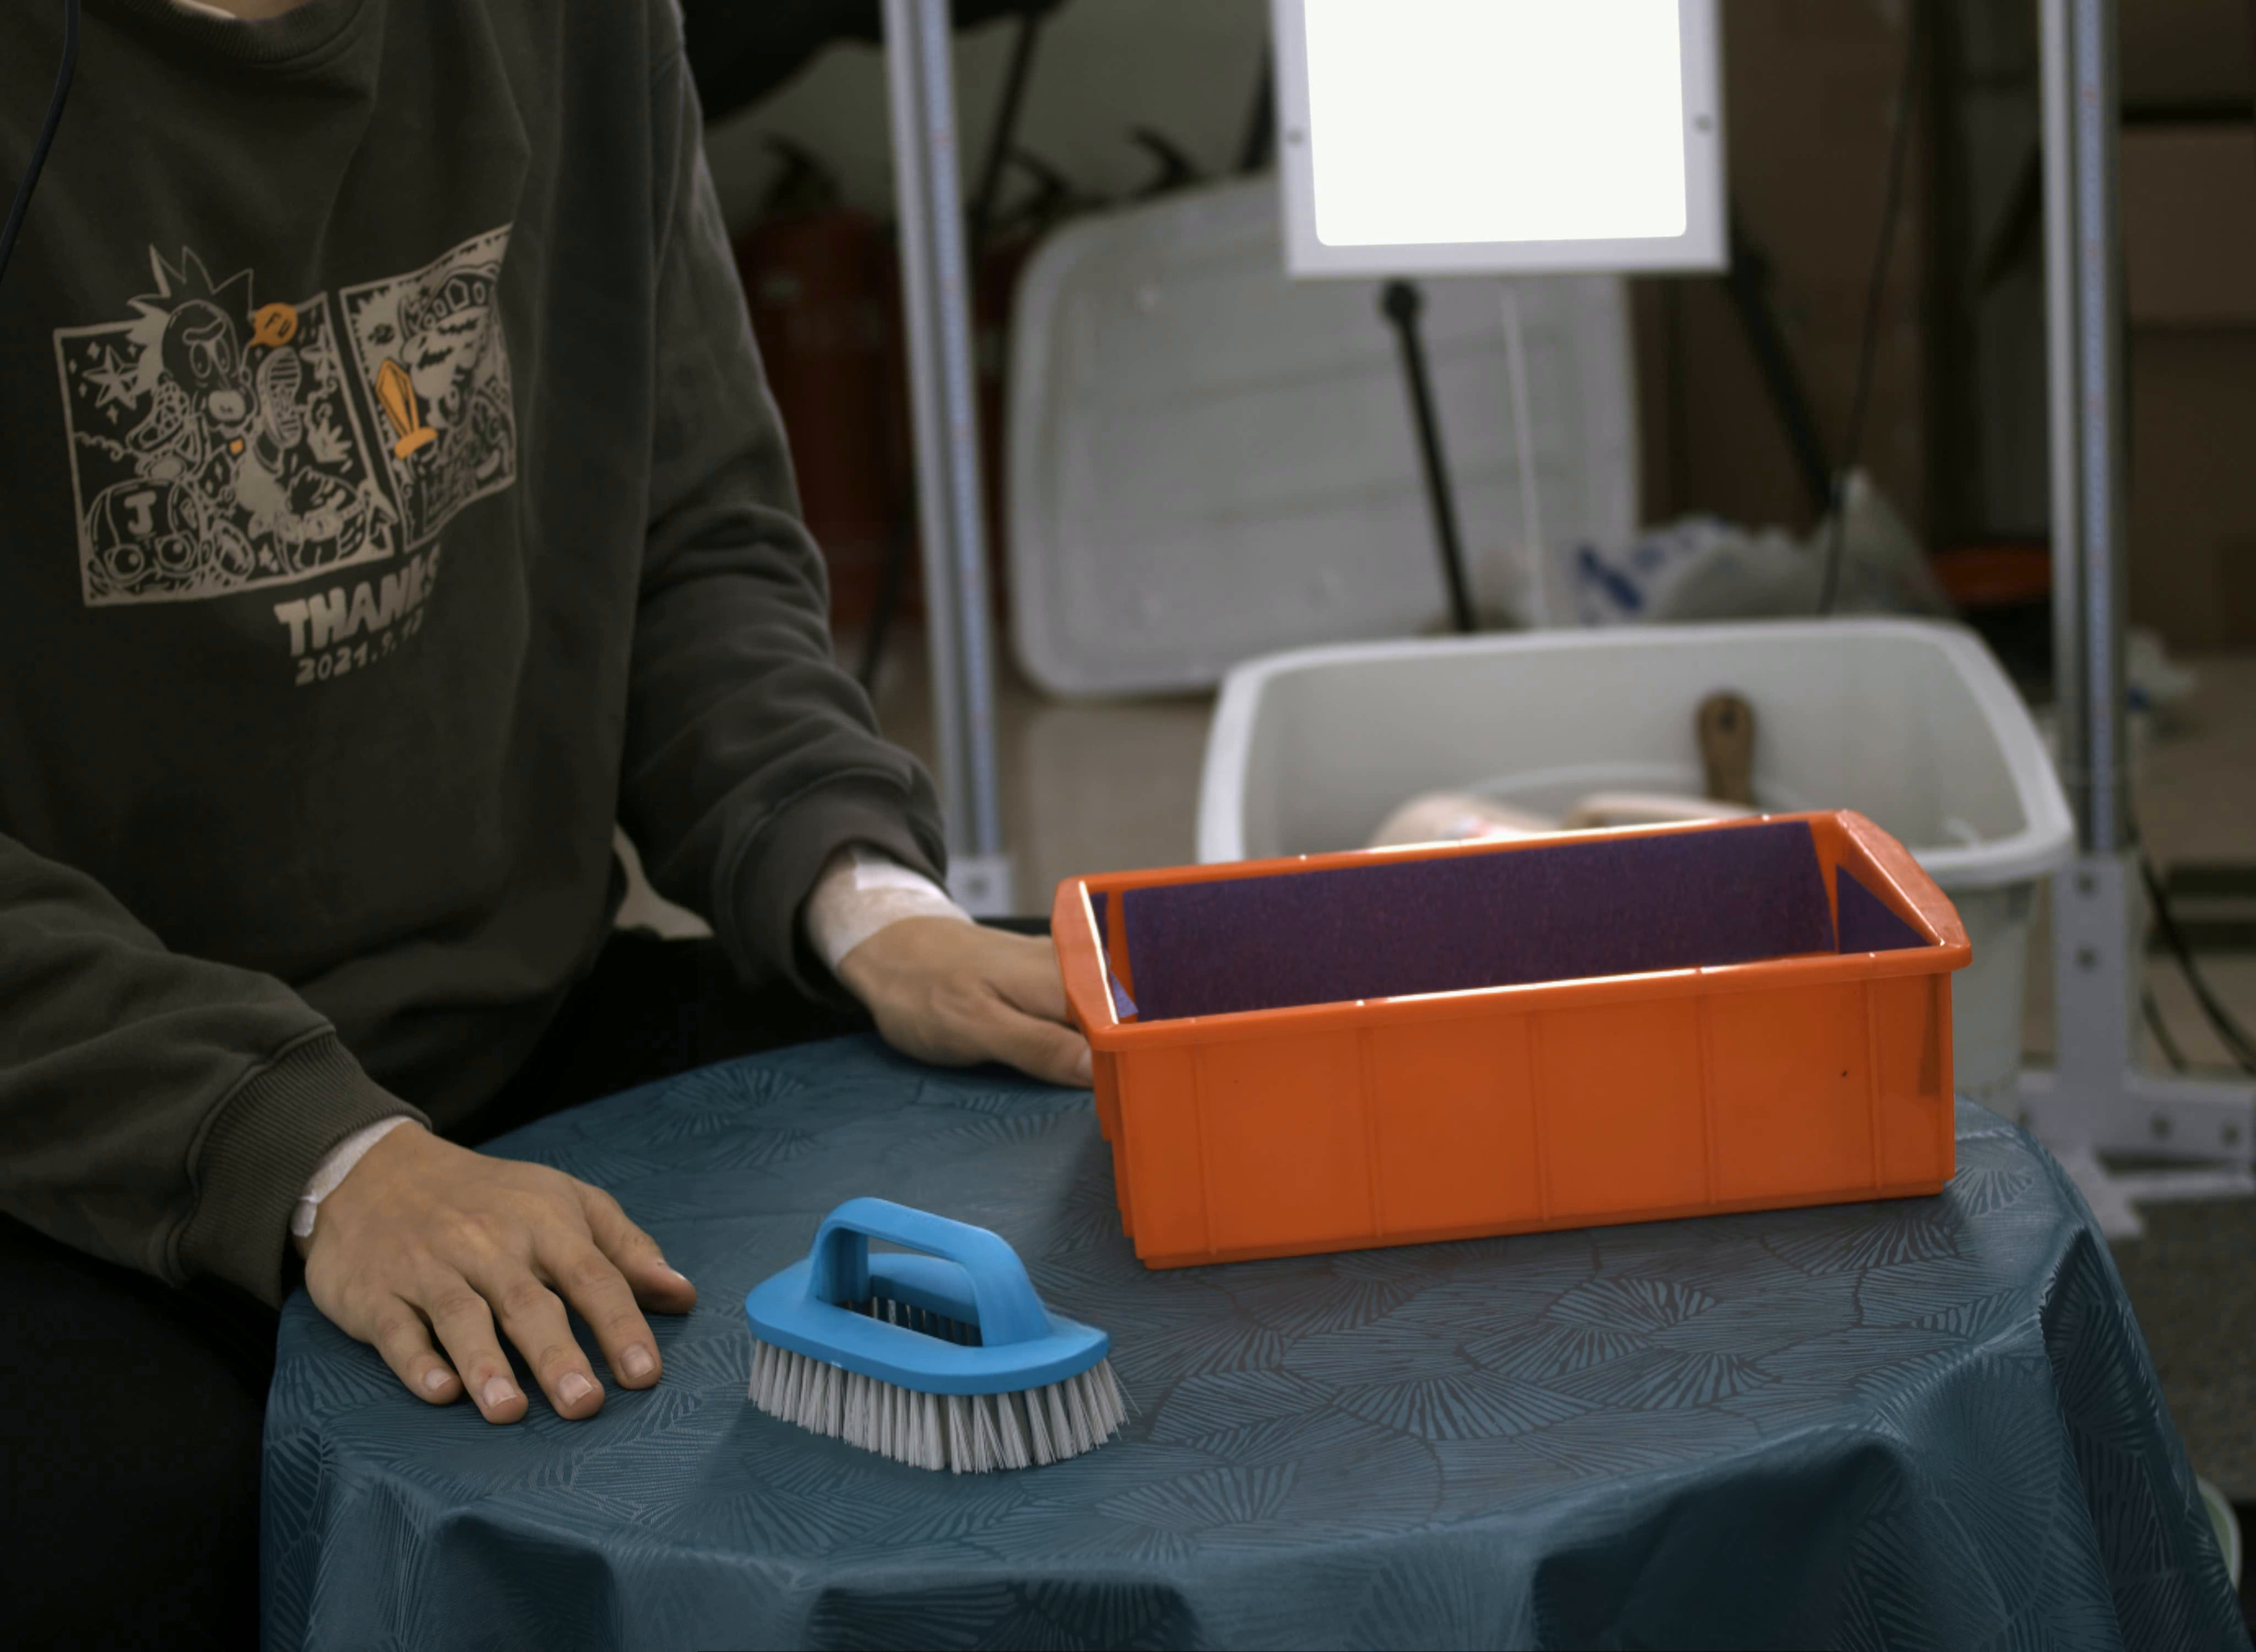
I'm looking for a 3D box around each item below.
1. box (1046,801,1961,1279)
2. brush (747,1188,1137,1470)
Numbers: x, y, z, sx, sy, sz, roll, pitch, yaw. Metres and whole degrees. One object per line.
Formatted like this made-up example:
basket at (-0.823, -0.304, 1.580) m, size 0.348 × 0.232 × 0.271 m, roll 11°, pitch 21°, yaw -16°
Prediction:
box at (0.127, 0.072, 1.892) m, size 0.303 × 0.097 × 0.206 m, roll -5°, pitch 14°, yaw 0°
brush at (-0.062, 0.147, 1.698) m, size 0.082 × 0.064 × 0.145 m, roll -21°, pitch 19°, yaw -34°
